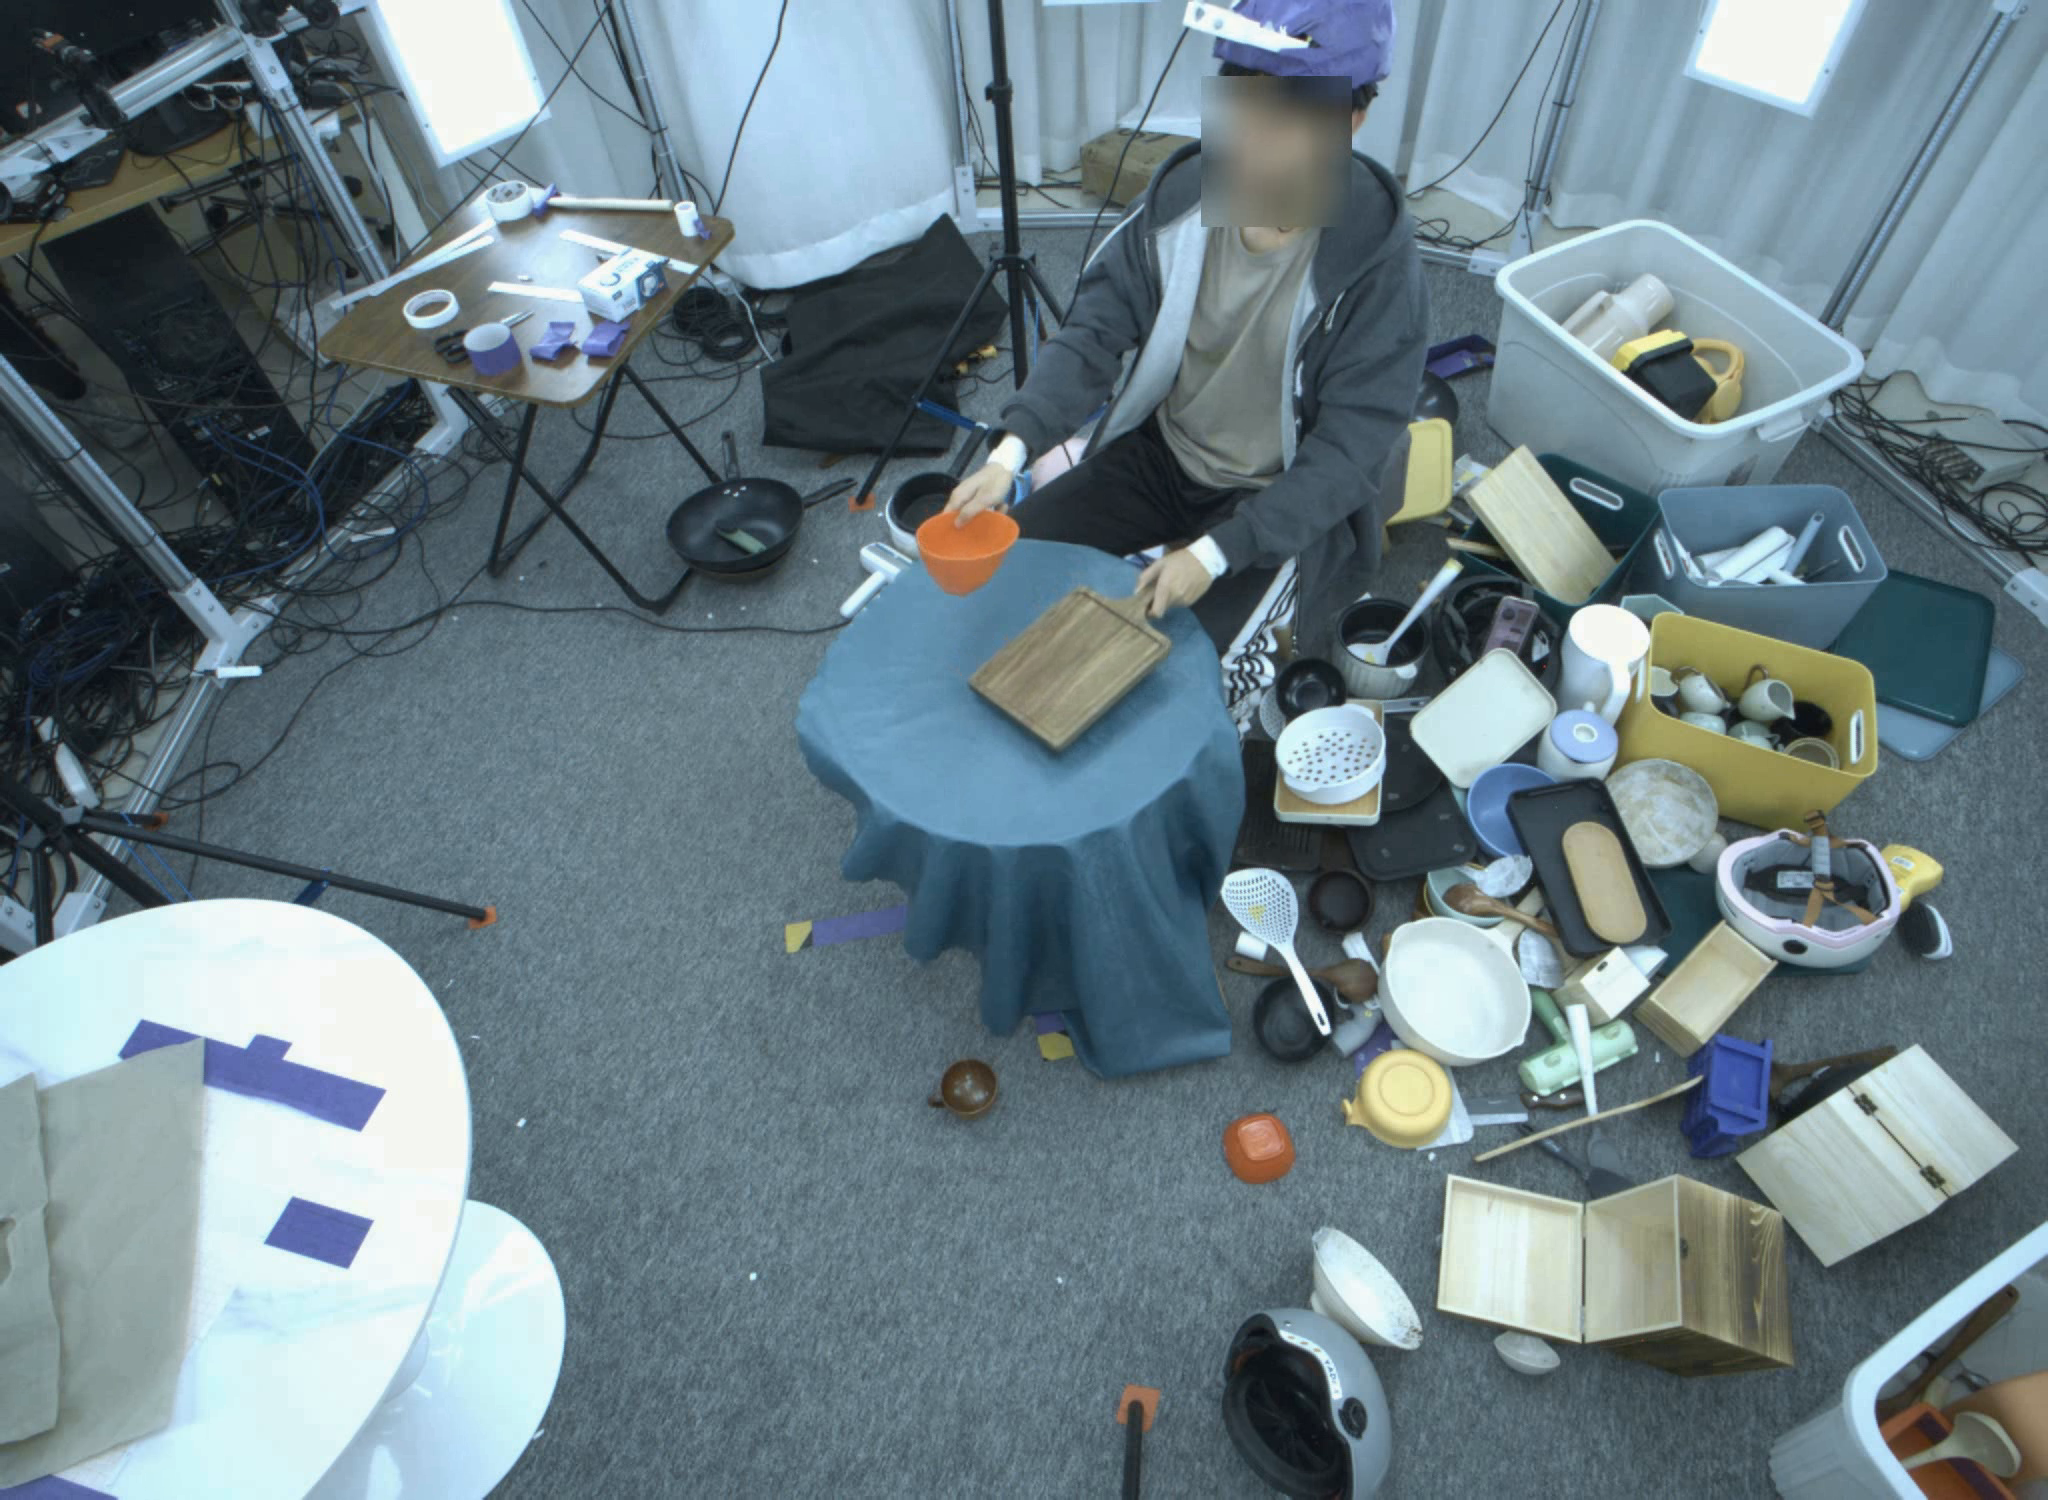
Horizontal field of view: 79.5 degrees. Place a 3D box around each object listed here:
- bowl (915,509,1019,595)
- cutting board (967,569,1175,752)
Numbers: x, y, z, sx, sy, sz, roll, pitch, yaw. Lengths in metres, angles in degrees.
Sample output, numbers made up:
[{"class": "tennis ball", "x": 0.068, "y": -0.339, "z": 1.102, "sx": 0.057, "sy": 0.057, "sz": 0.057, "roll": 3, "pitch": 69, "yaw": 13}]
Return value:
[{"class": "bowl", "x": -0.087, "y": -0.280, "z": 1.775, "sx": 0.148, "sy": 0.105, "sz": 0.146, "roll": 5, "pitch": 46, "yaw": -4}, {"class": "cutting board", "x": 0.103, "y": -0.159, "z": 1.842, "sx": 0.354, "sy": 0.023, "sz": 0.197, "roll": -42, "pitch": 60, "yaw": -20}]
